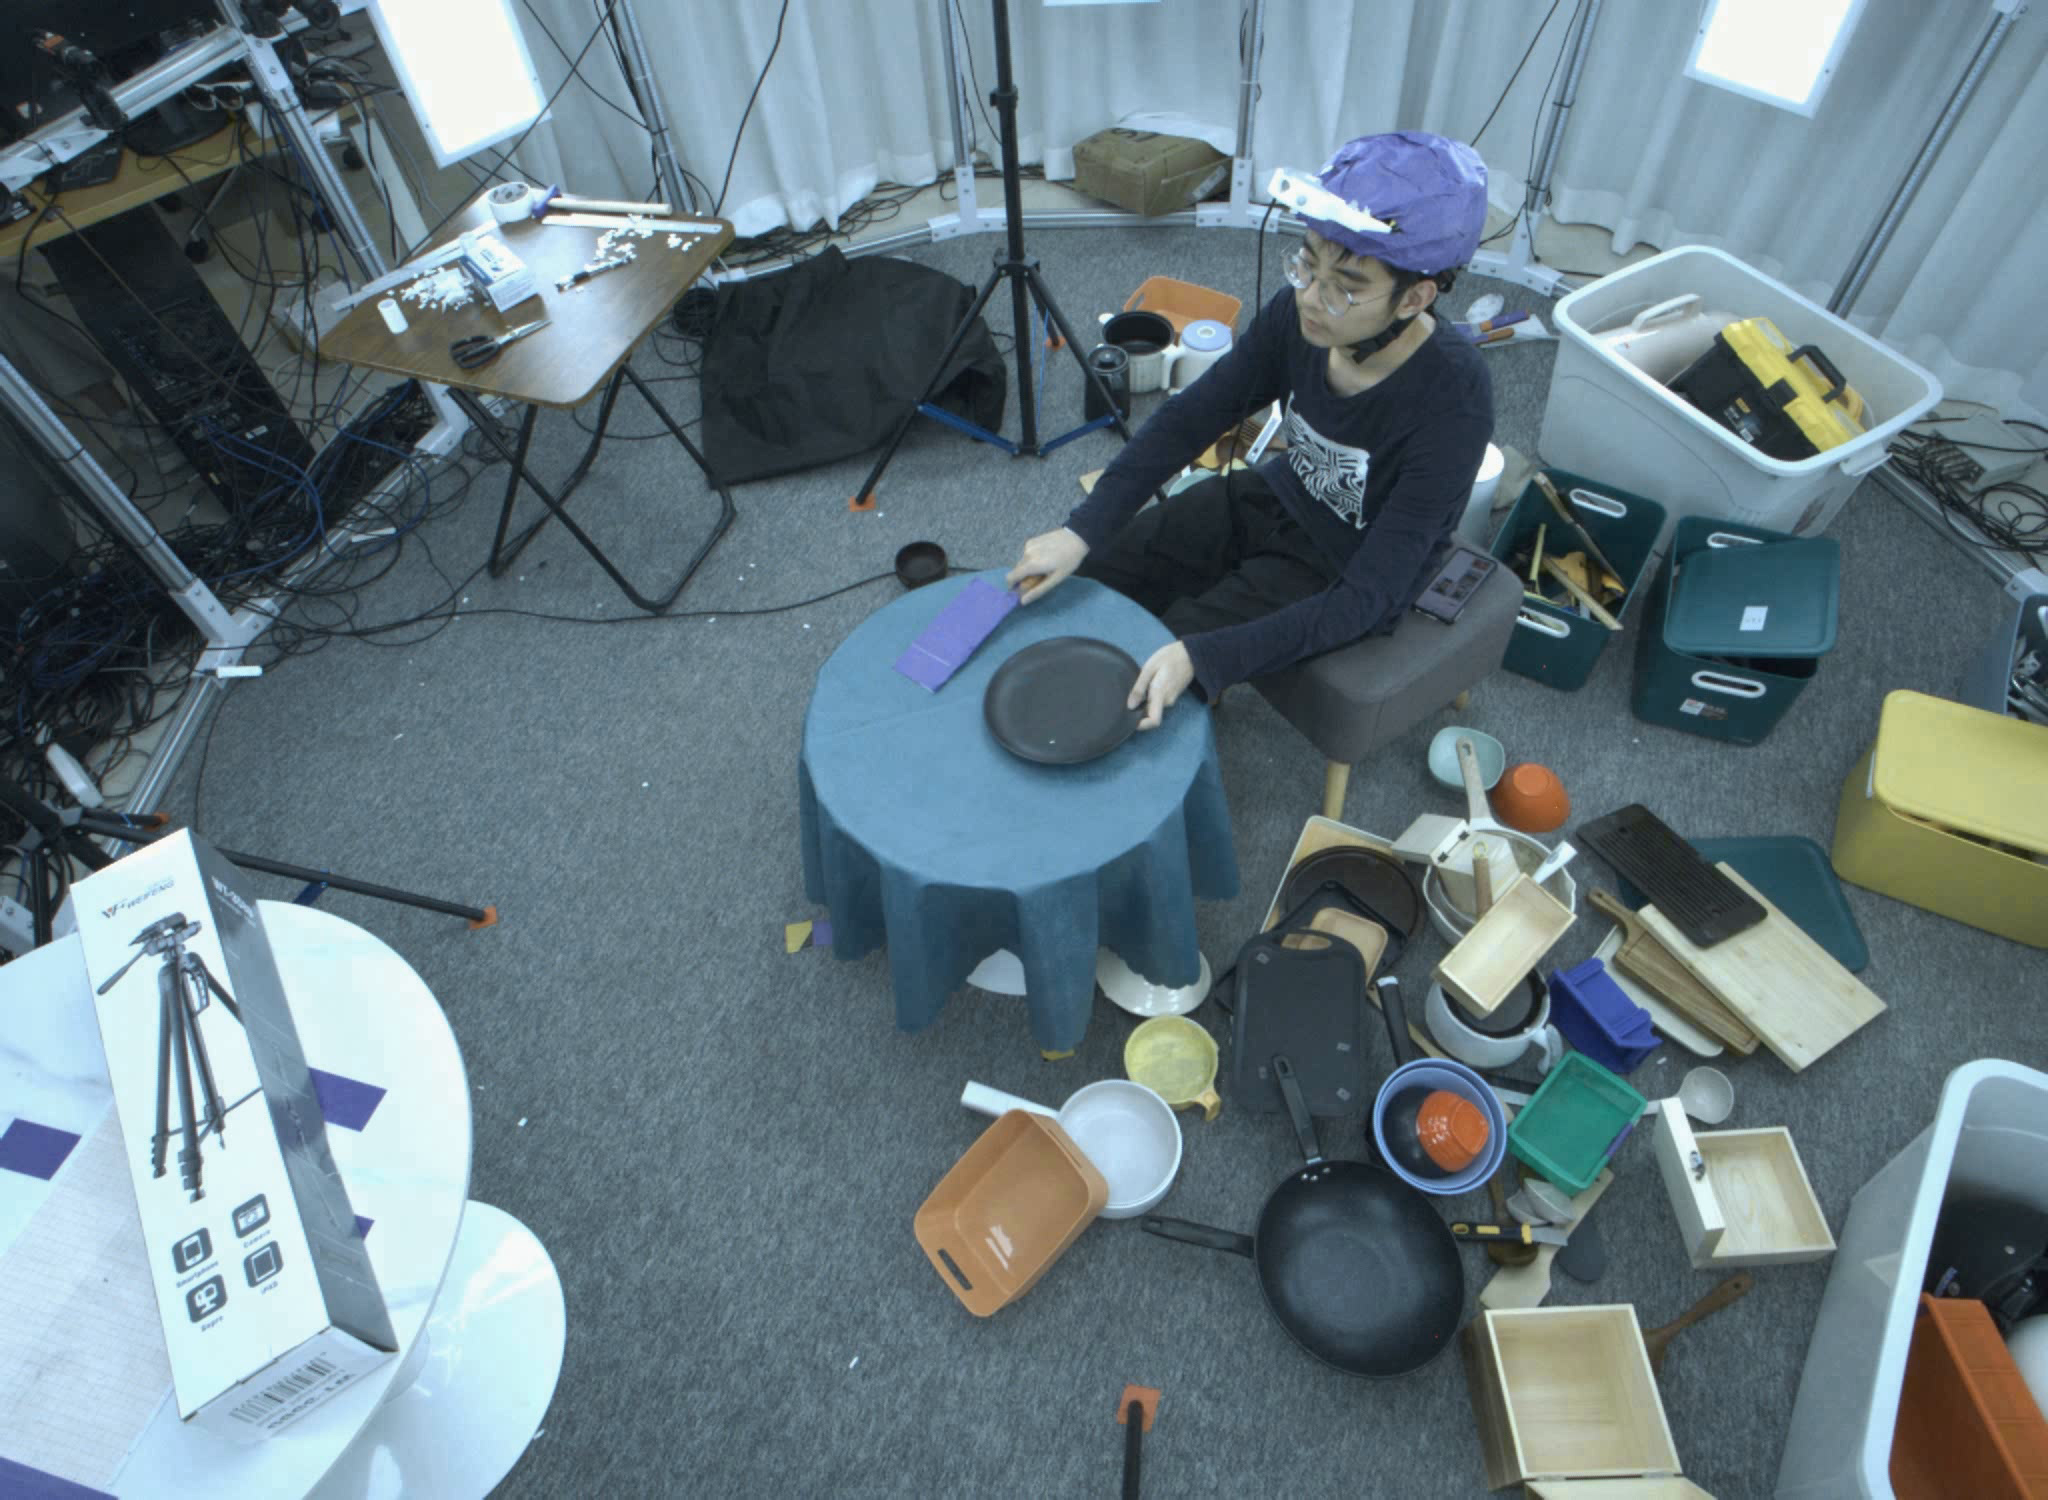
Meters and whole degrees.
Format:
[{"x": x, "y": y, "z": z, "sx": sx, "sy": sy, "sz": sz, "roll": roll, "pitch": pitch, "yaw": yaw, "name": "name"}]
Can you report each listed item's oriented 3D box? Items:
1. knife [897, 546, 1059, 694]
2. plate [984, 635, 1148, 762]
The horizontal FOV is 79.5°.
[{"x": -0.074, "y": -0.220, "z": 1.919, "sx": 0.102, "sy": 0.032, "sz": 0.316, "roll": 32, "pitch": 68, "yaw": 22, "name": "knife"}, {"x": 0.061, "y": -0.073, "z": 1.822, "sx": 0.243, "sy": 0.024, "sz": 0.242, "roll": -3, "pitch": 53, "yaw": 5, "name": "plate"}]
